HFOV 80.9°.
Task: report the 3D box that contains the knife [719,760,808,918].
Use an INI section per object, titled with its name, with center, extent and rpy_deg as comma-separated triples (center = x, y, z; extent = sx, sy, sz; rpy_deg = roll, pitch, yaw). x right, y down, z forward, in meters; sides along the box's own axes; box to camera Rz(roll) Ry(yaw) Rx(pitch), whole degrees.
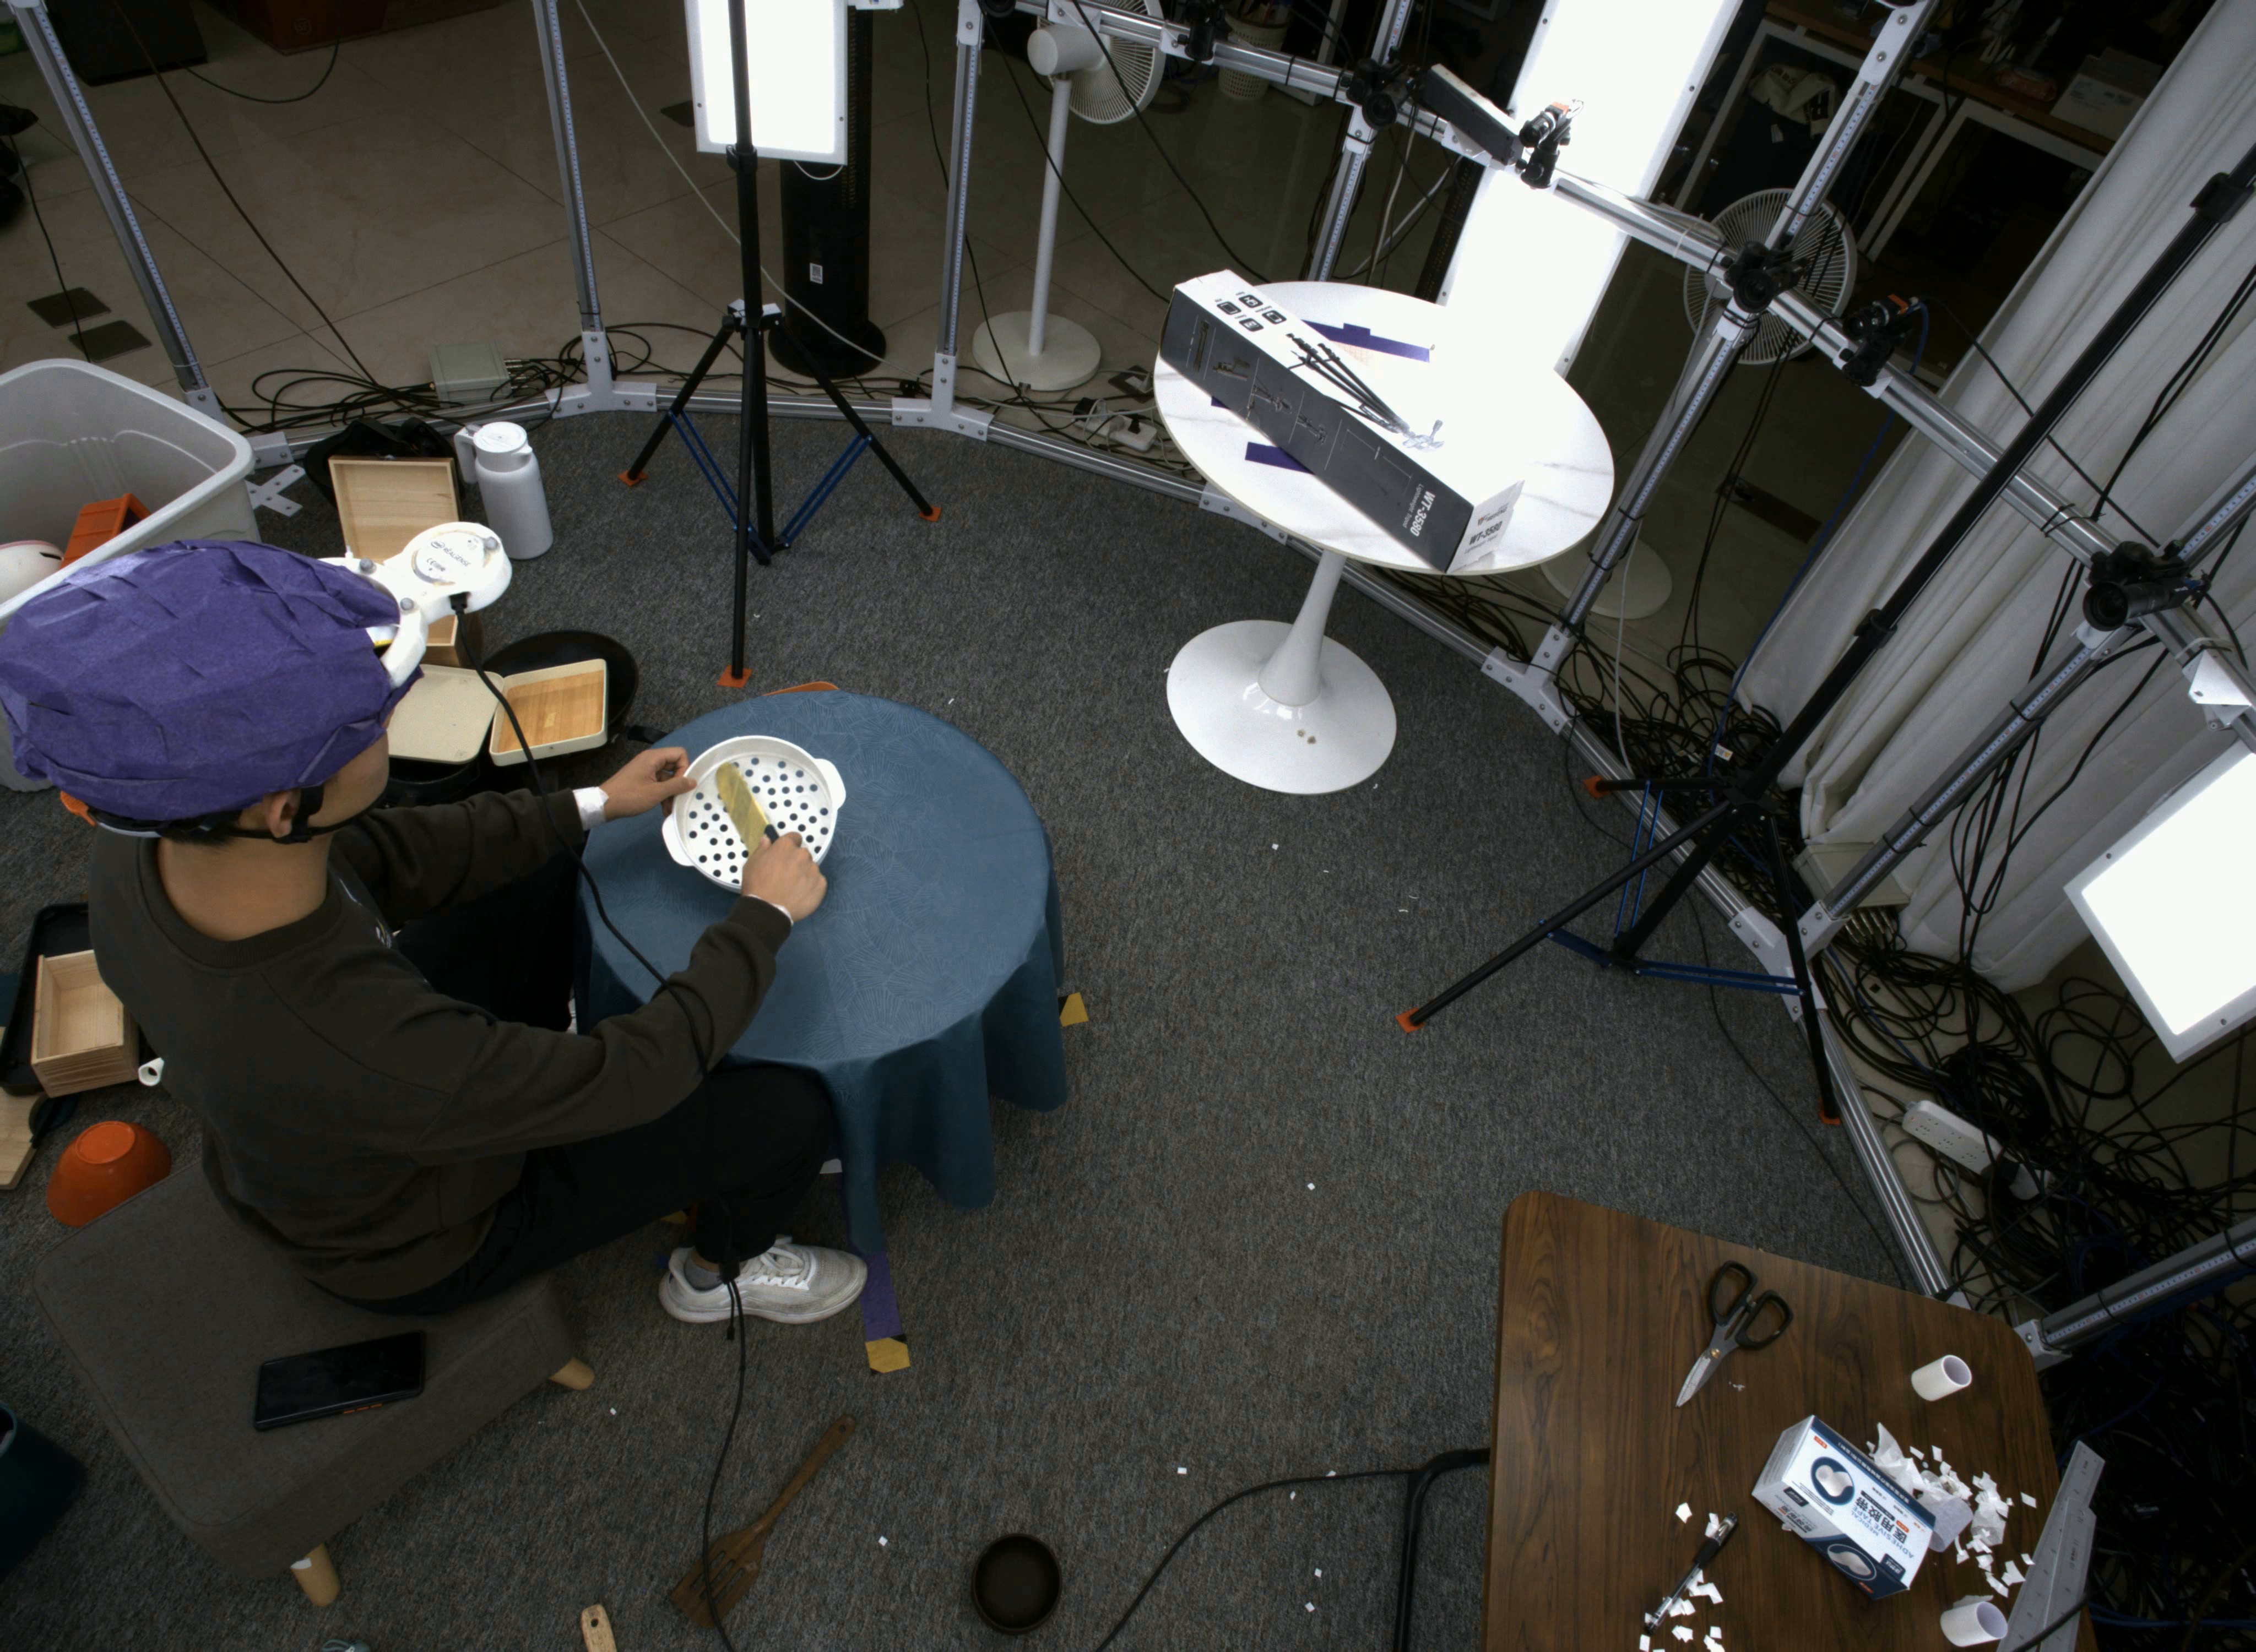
[knife]
center = -0.453, 0.017, 1.582
extent = 0.027, 0.082, 0.280
rpy_deg = -11, 47, -35

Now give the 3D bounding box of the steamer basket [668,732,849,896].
[steamer basket]
center = -0.468, -0.014, 1.654
extent = 0.230, 0.069, 0.201
rpy_deg = -23, 82, -15
